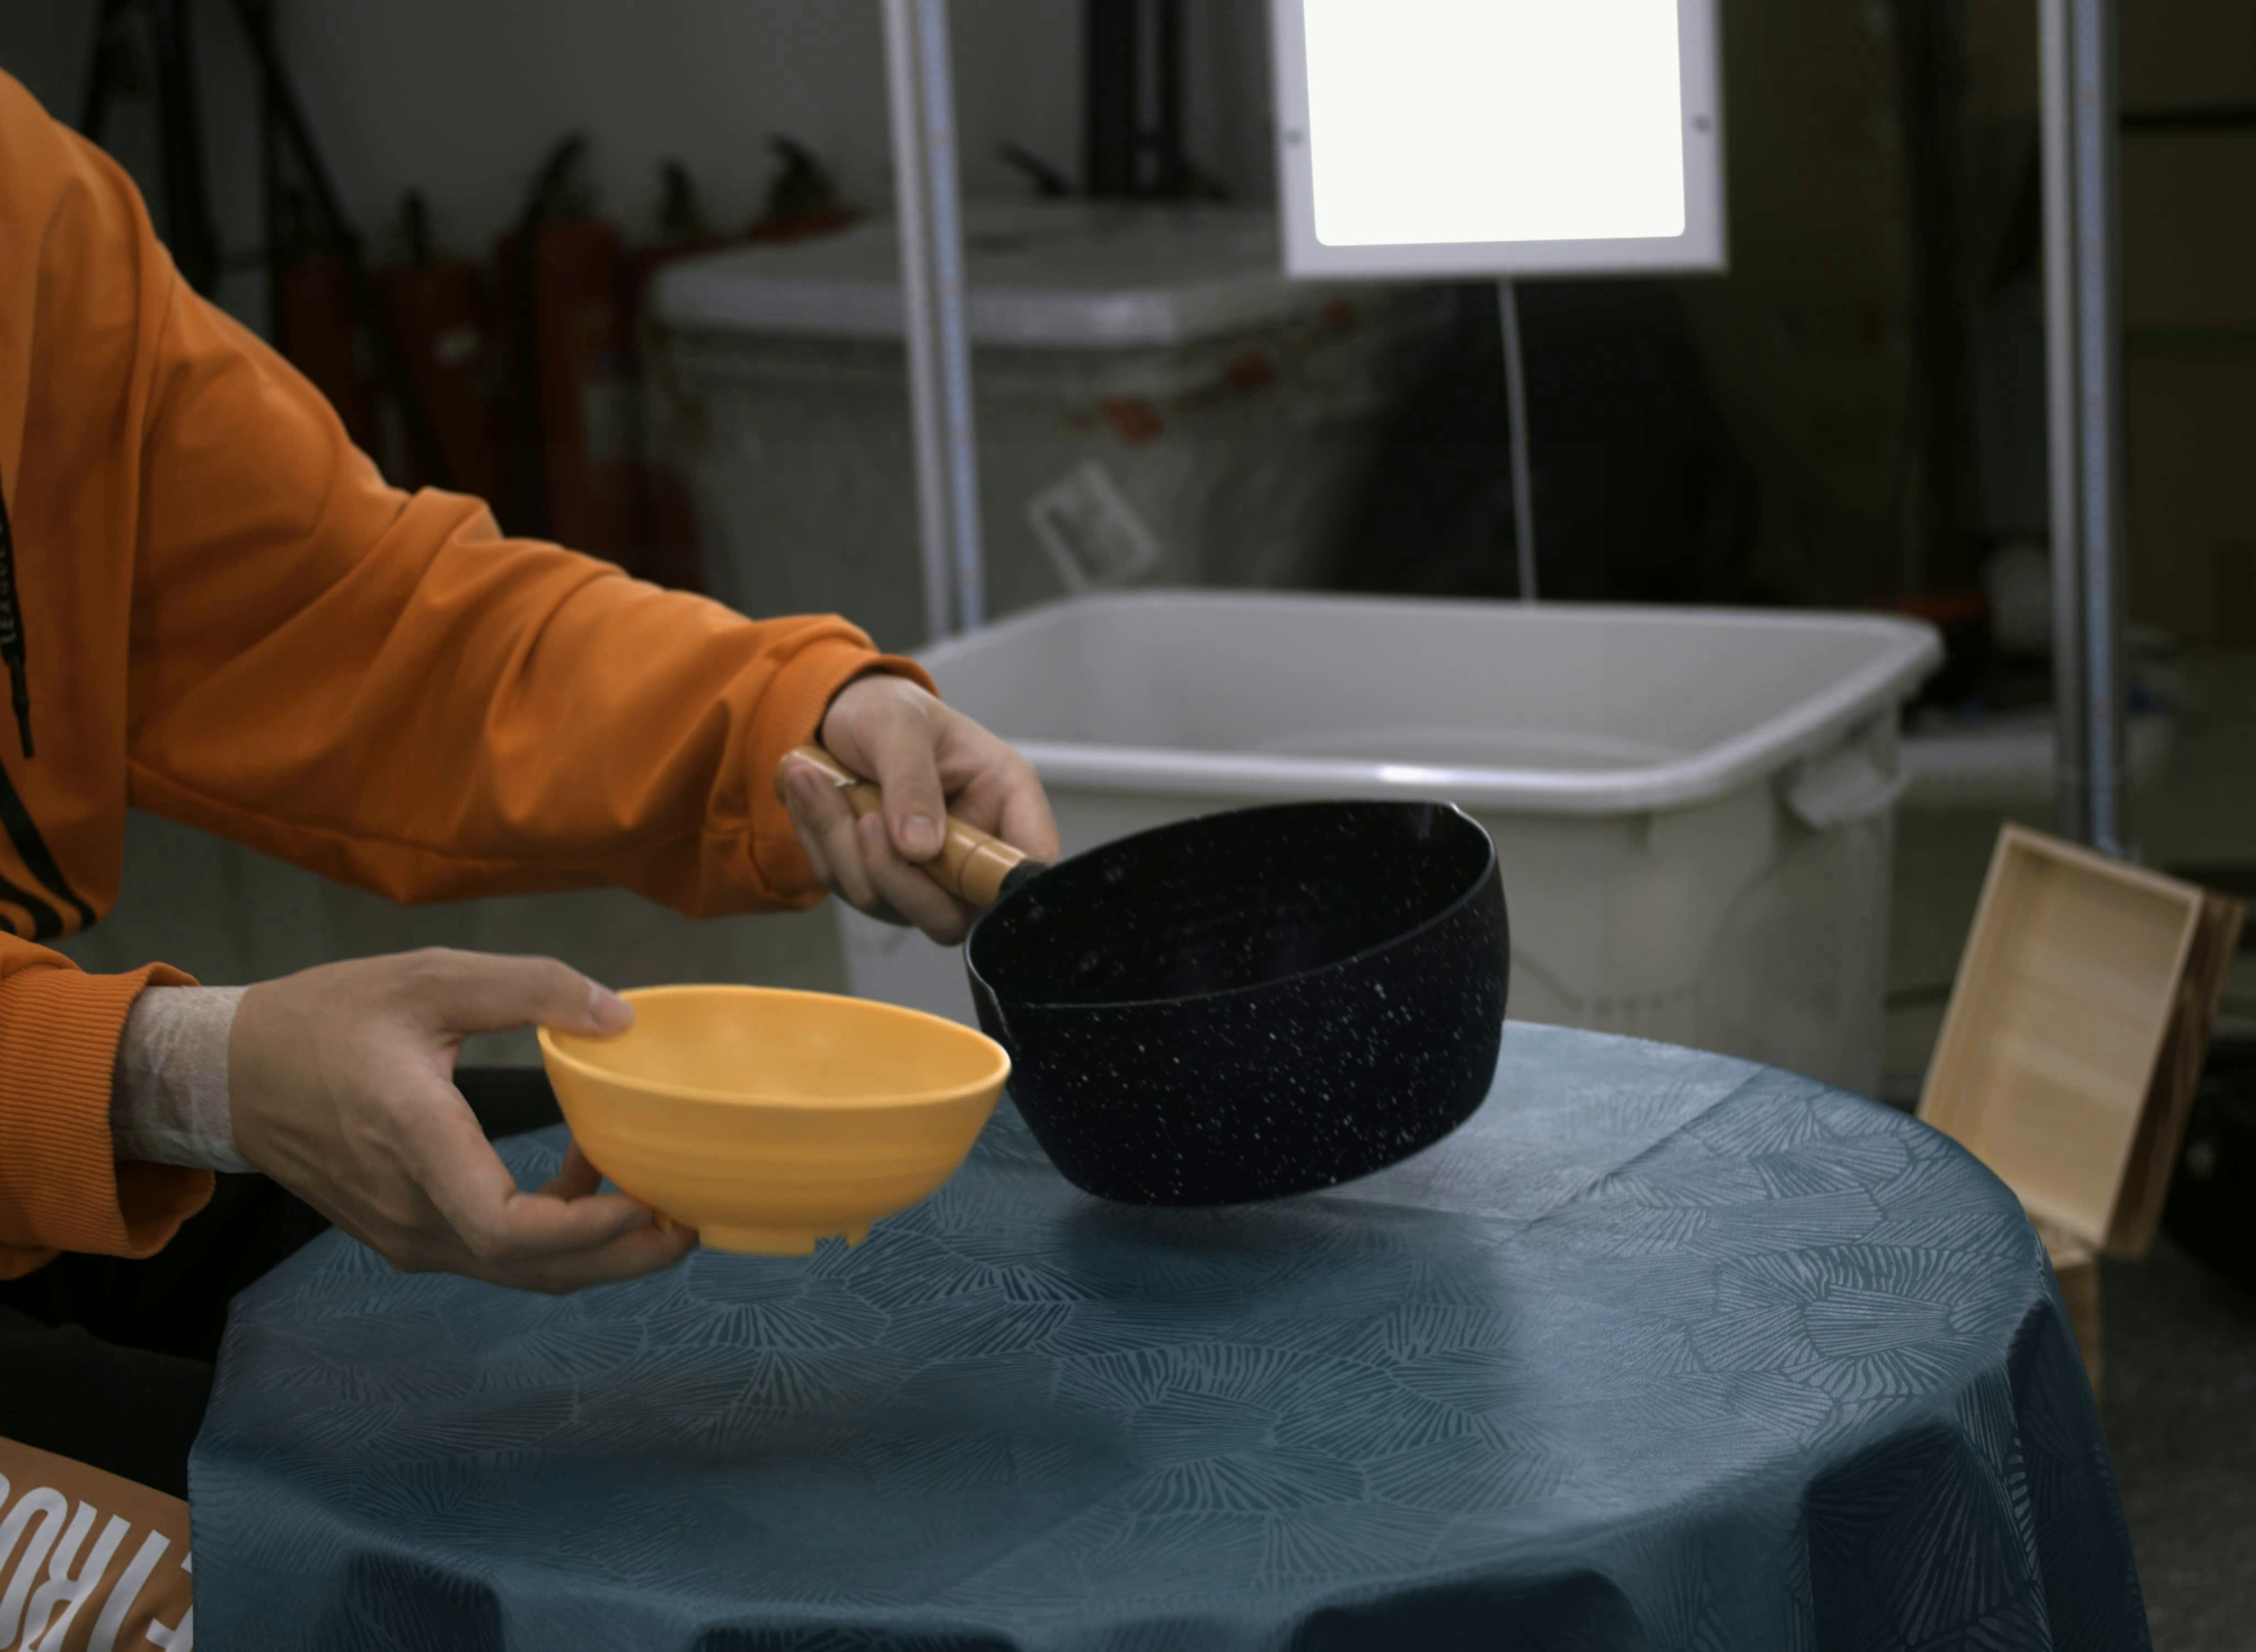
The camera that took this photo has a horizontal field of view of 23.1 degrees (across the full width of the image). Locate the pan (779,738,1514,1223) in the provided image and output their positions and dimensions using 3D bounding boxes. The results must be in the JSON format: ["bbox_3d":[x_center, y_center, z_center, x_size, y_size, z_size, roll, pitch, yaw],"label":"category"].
[{"bbox_3d":[-0.010,0.044,1.923,0.203,0.108,0.350,-26,24,-33],"label":"pan"}]

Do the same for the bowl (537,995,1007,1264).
[{"bbox_3d":[-0.111,0.096,1.686,0.145,0.060,0.145,4,11,-2],"label":"bowl"}]
